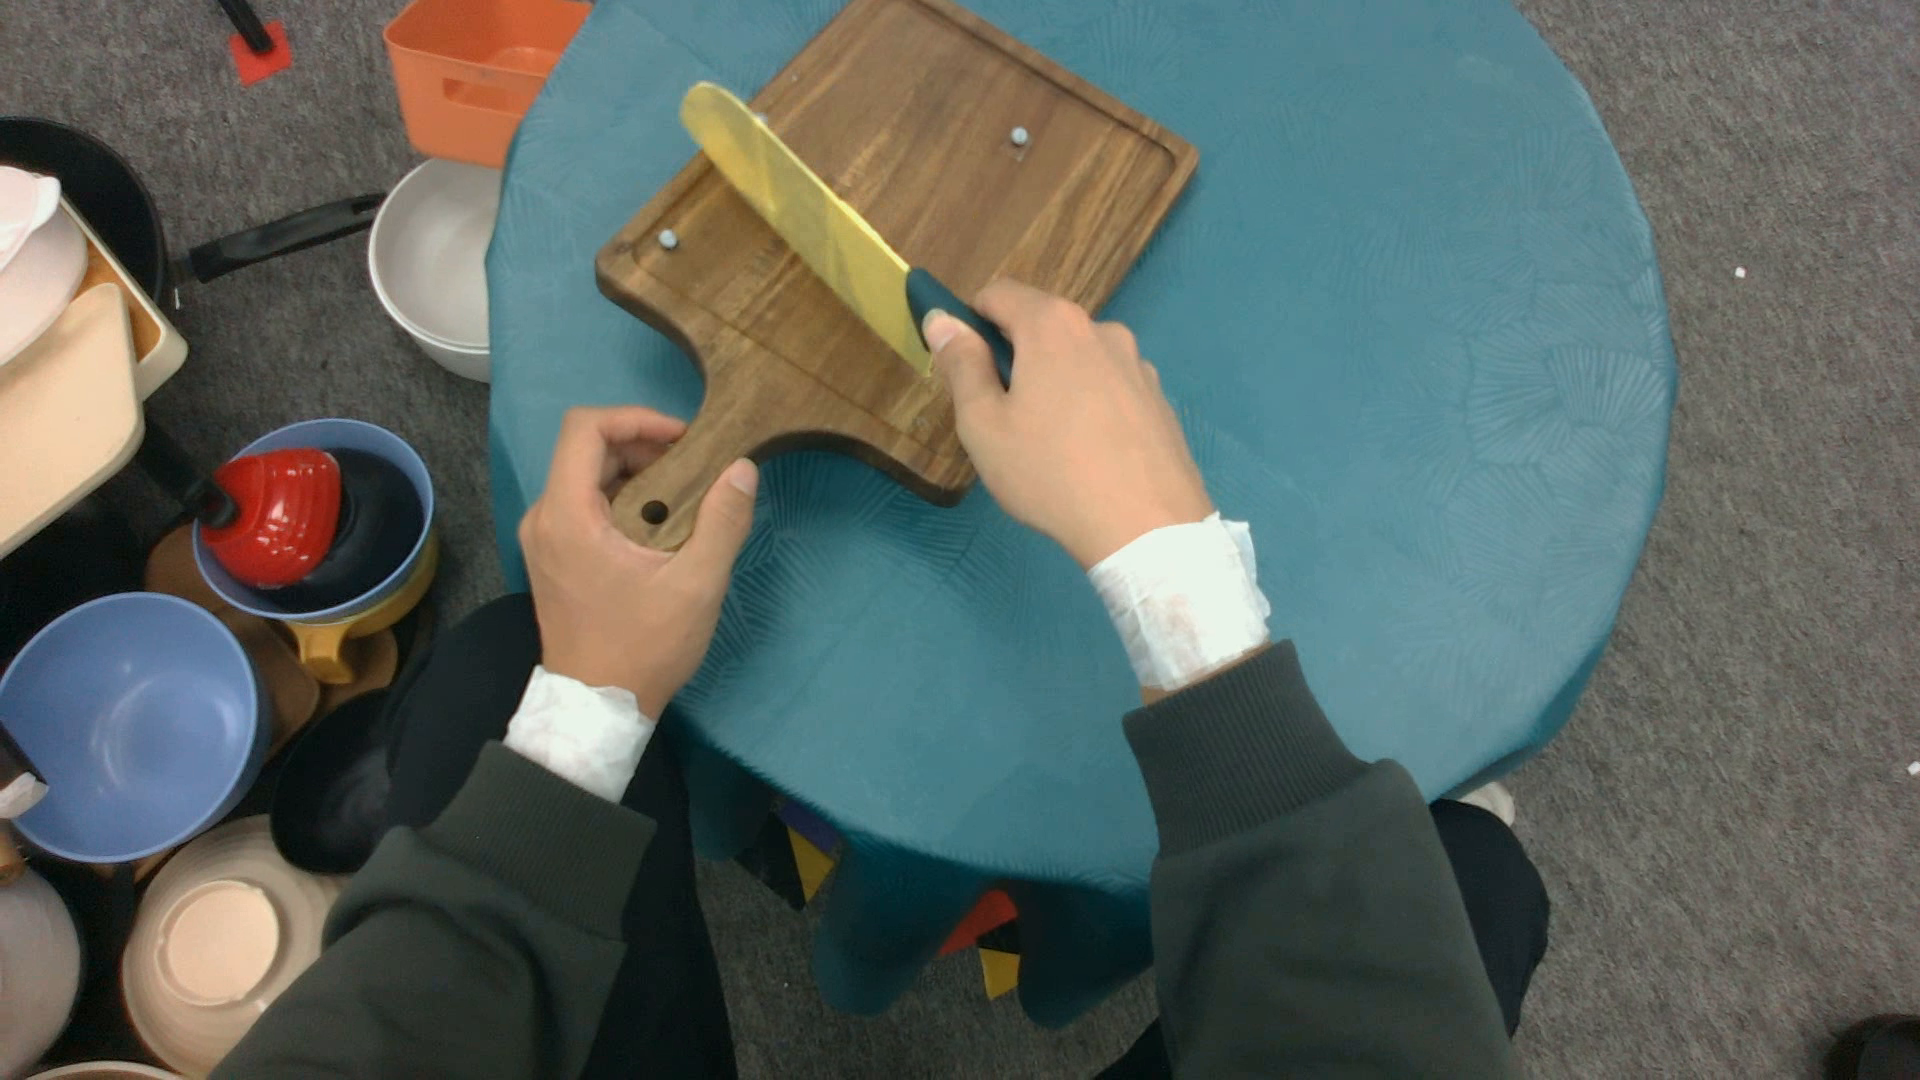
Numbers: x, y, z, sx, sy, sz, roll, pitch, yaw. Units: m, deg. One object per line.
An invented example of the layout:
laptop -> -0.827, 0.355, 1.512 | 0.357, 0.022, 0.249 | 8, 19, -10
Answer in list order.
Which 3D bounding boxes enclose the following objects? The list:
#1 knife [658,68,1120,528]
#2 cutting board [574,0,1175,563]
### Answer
knife -> -0.040, -0.105, 0.580 | 0.027, 0.081, 0.290 | -40, 73, -15
cutting board -> -0.055, -0.127, 0.639 | 0.201, 0.023, 0.354 | 31, 61, 5
